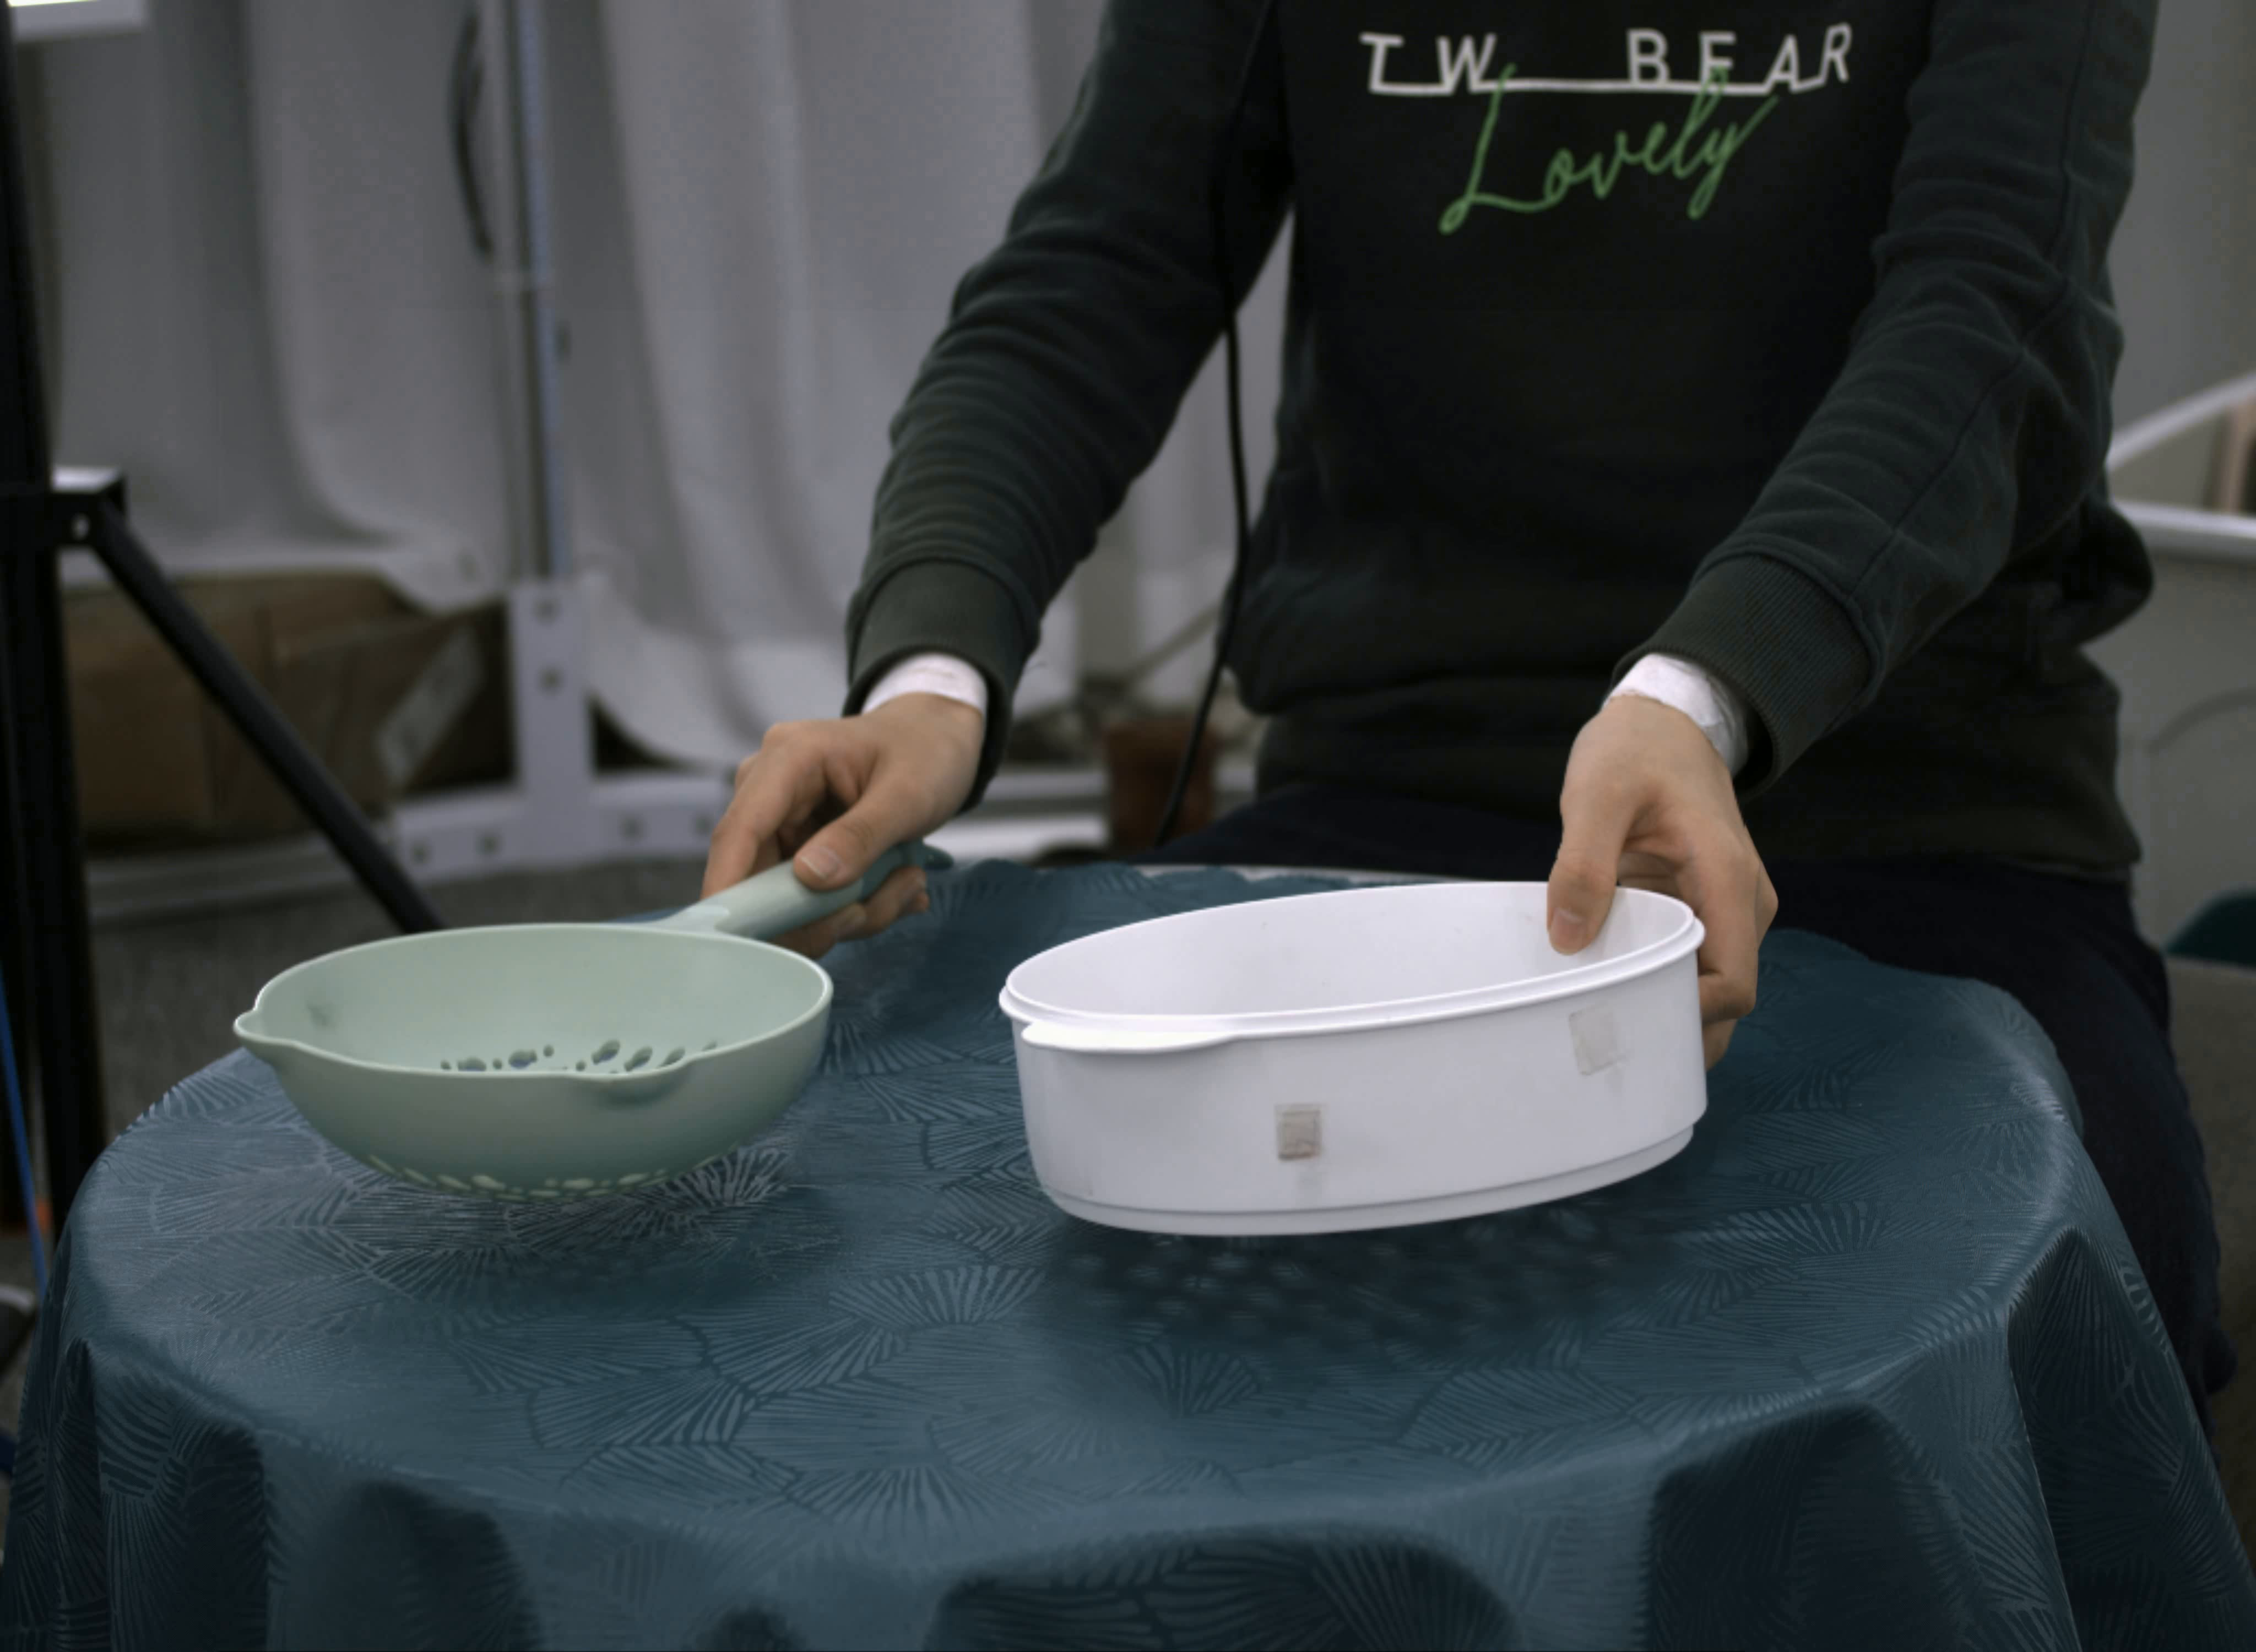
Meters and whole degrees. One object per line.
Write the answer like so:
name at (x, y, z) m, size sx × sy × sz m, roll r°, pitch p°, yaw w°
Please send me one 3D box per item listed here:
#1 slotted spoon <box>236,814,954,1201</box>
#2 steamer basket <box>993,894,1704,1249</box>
slotted spoon at (-0.133, 0.040, 1.648) m, size 0.171 × 0.075 × 0.355 m, roll 5°, pitch 22°, yaw 22°
steamer basket at (0.064, 0.069, 1.499) m, size 0.206 × 0.069 × 0.225 m, roll 2°, pitch 11°, yaw 41°
